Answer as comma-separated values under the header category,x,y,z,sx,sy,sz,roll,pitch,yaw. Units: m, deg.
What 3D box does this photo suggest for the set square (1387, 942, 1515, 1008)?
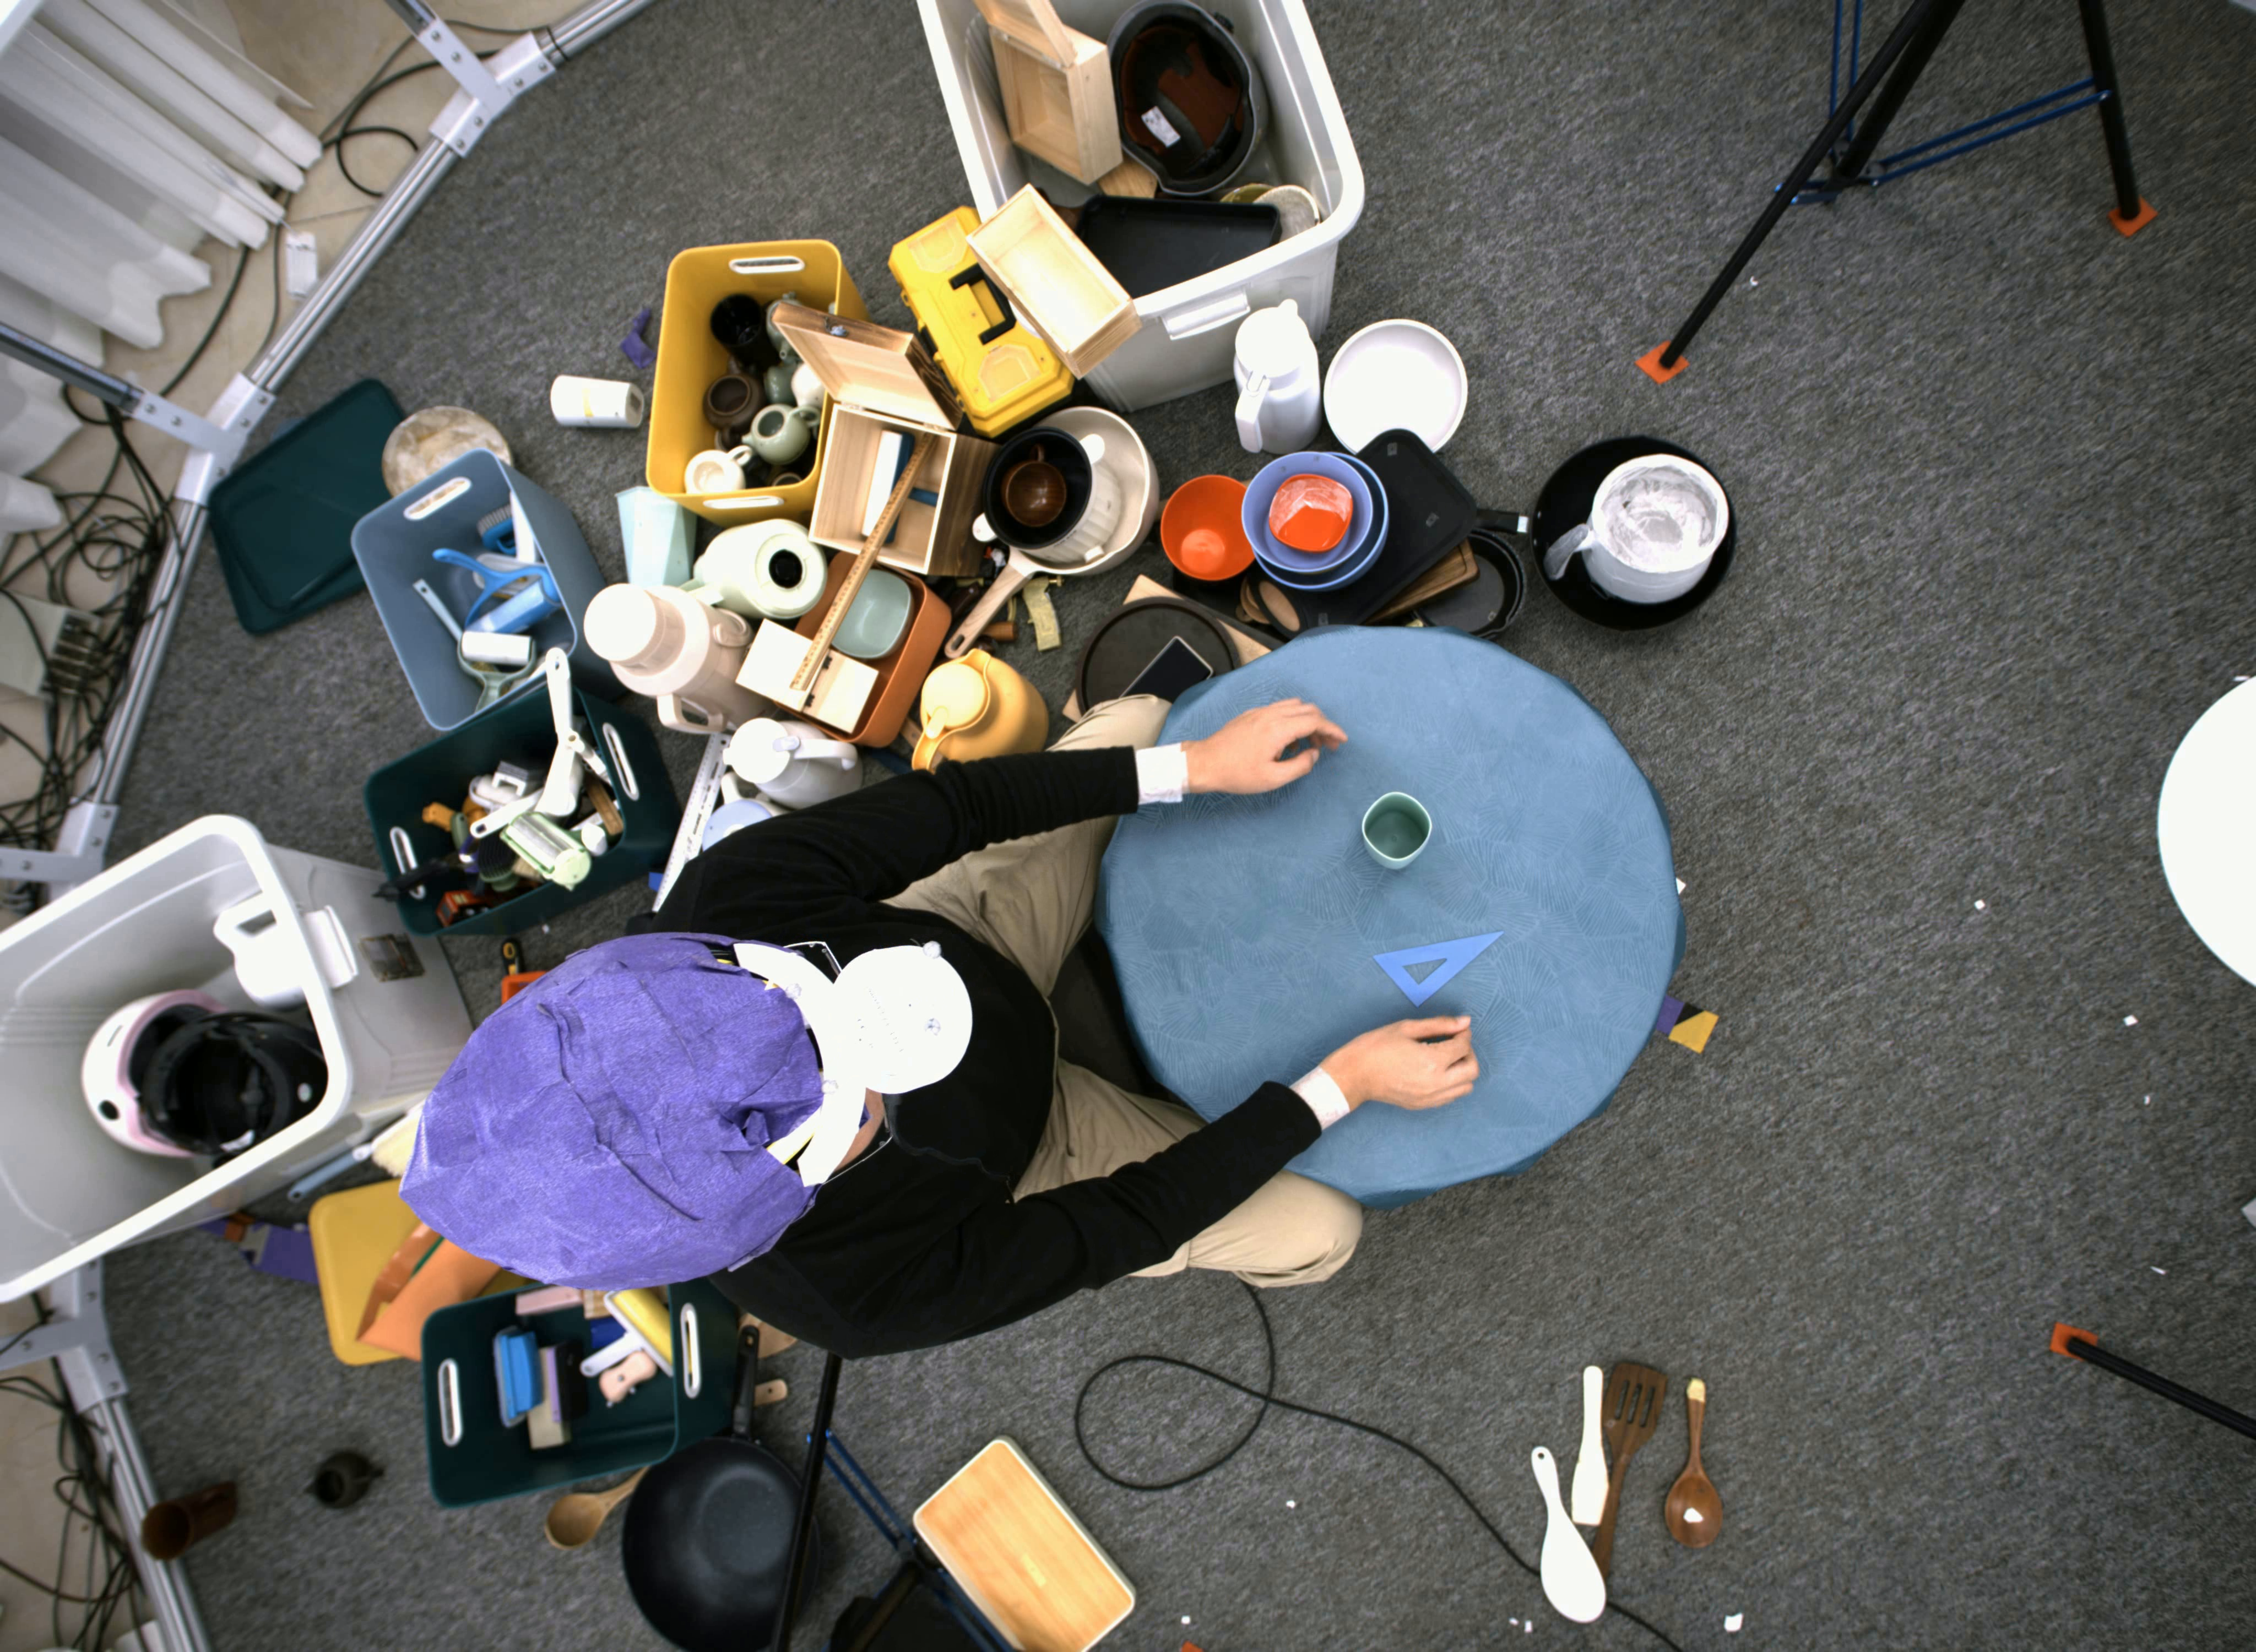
category,x,y,z,sx,sy,sz,roll,pitch,yaw
set square,0.340,0.154,1.441,0.132,0.006,0.061,-8,86,10

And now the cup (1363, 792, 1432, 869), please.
category,x,y,z,sx,sy,sz,roll,pitch,yaw
cup,0.271,0.006,1.401,0.067,0.132,0.066,-1,84,9
